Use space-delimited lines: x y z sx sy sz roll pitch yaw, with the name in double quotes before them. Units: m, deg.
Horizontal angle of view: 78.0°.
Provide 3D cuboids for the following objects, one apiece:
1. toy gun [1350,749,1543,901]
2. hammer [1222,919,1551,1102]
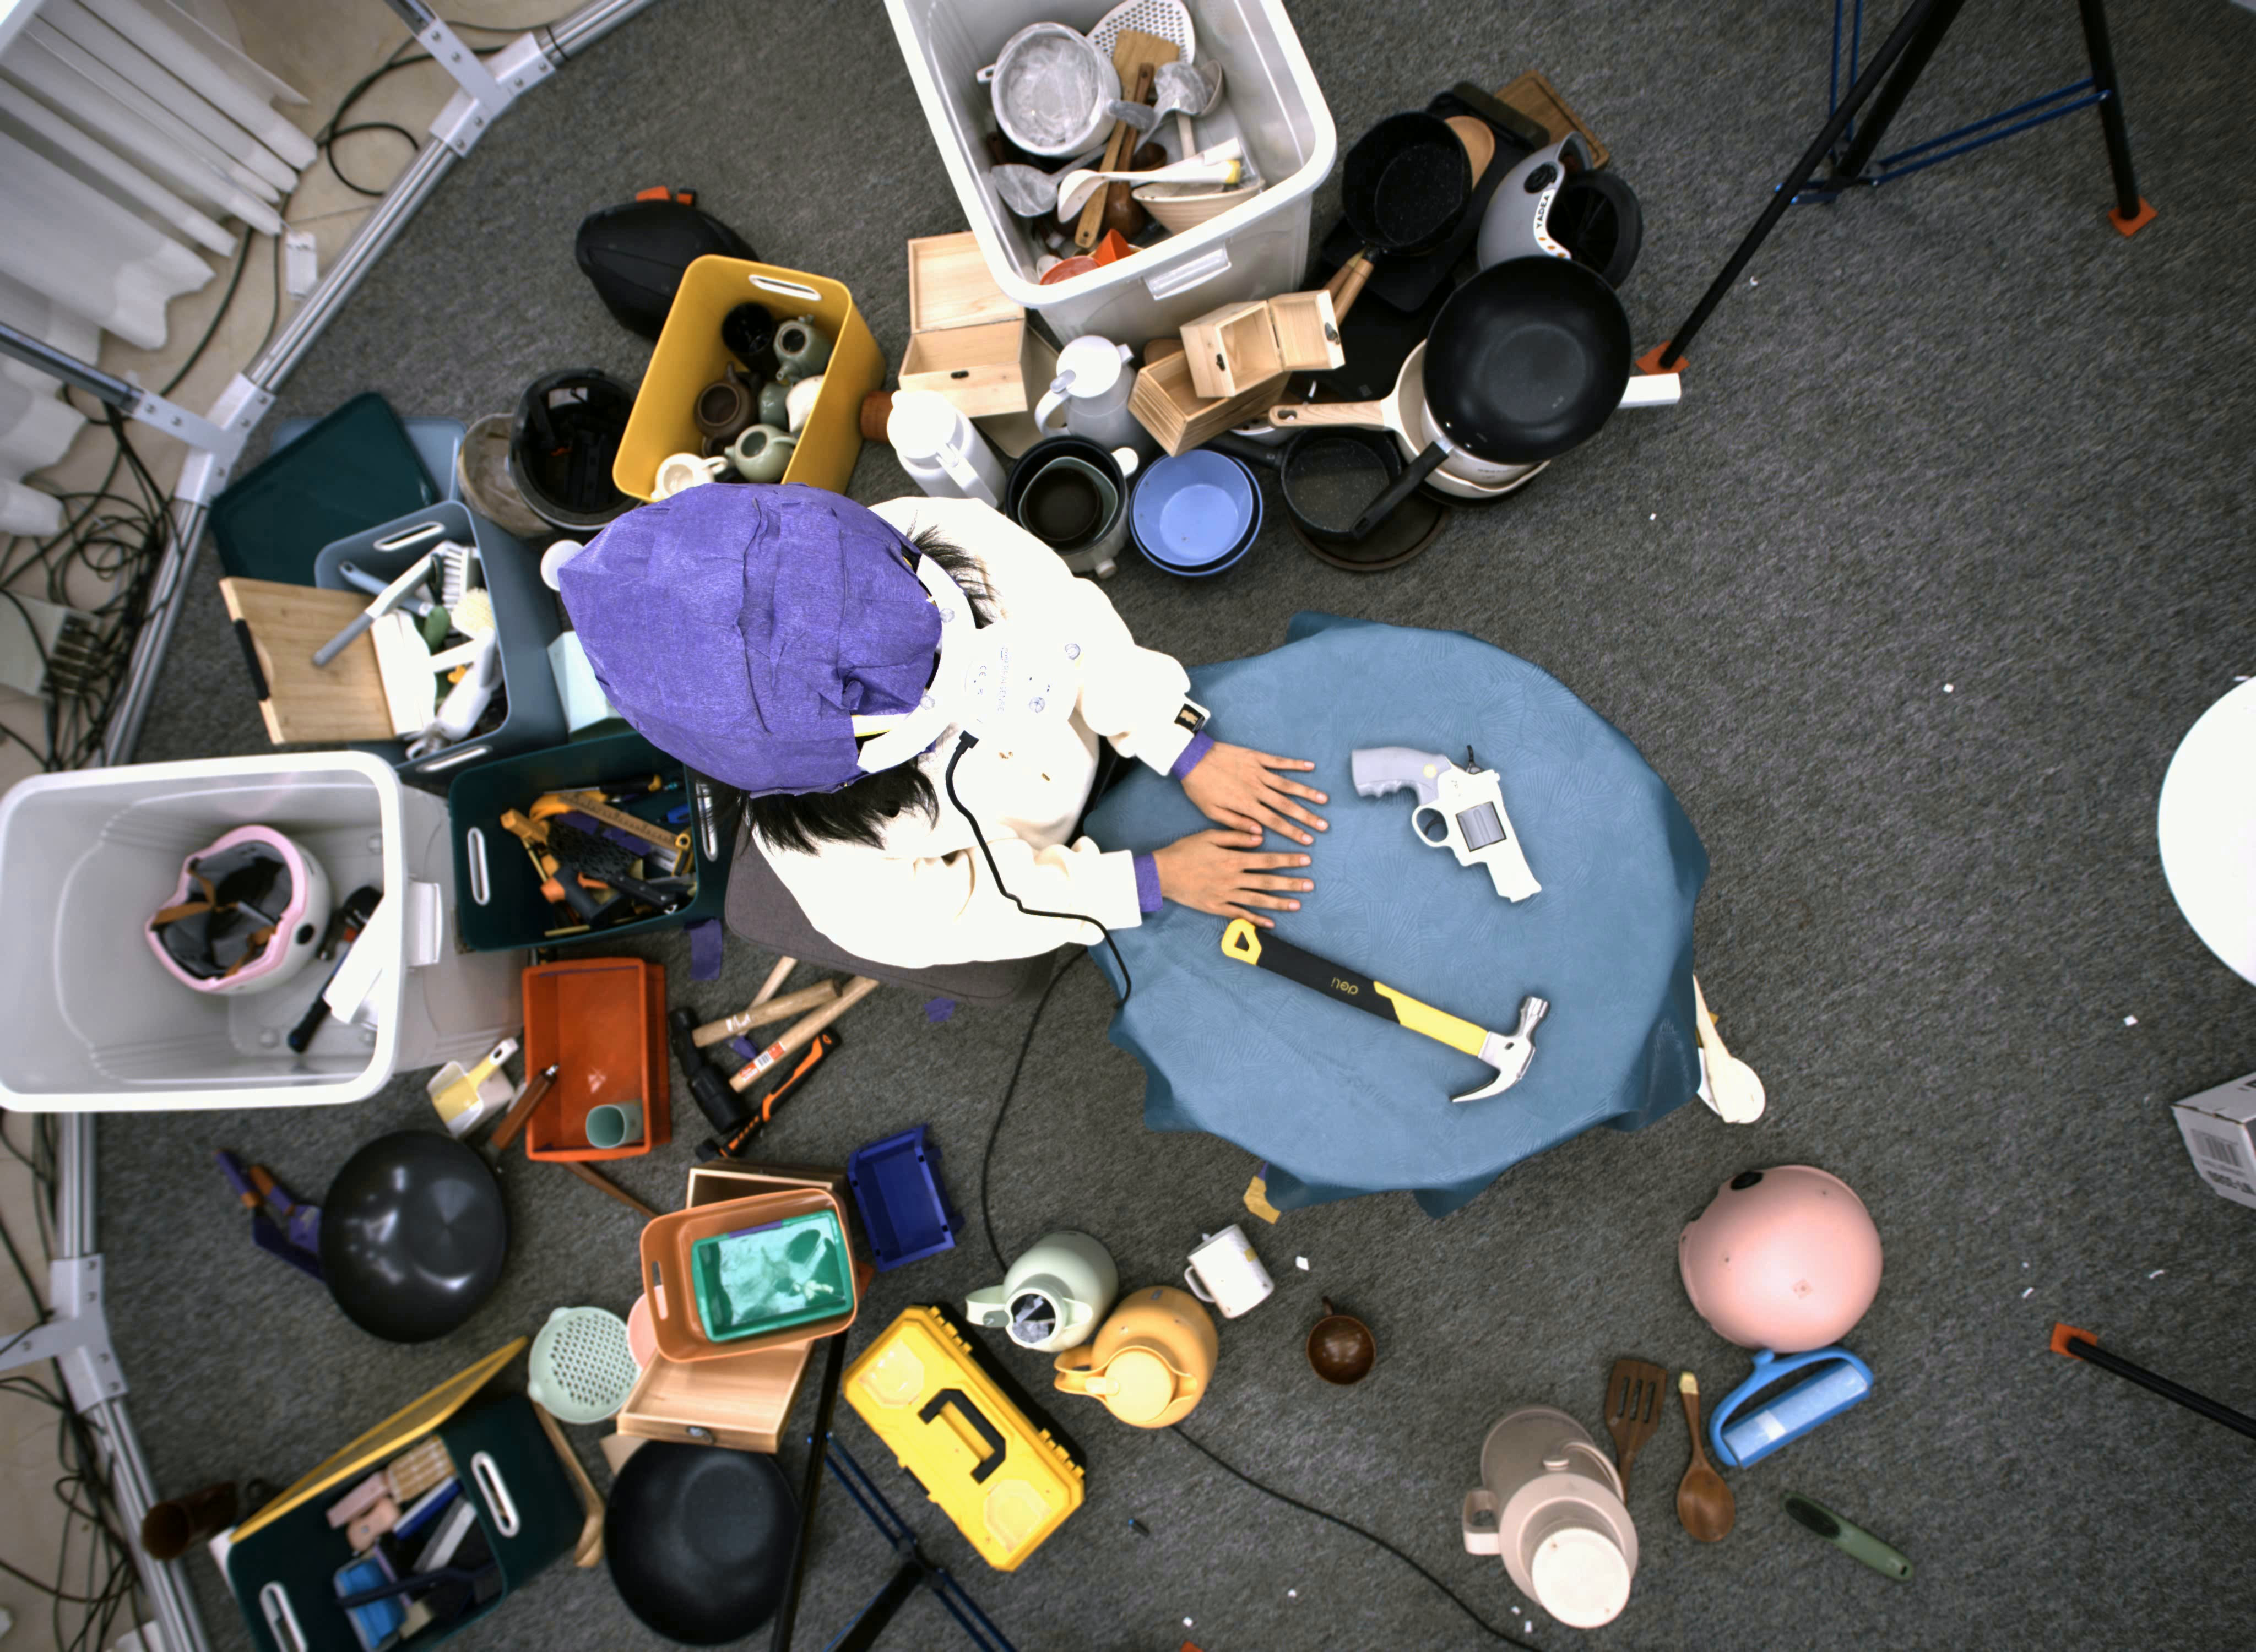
"toy gun" 0.328 -0.005 1.434 0.142 0.039 0.208 -23 83 7
"hammer" 0.256 0.177 1.438 0.338 0.032 0.131 23 93 10
